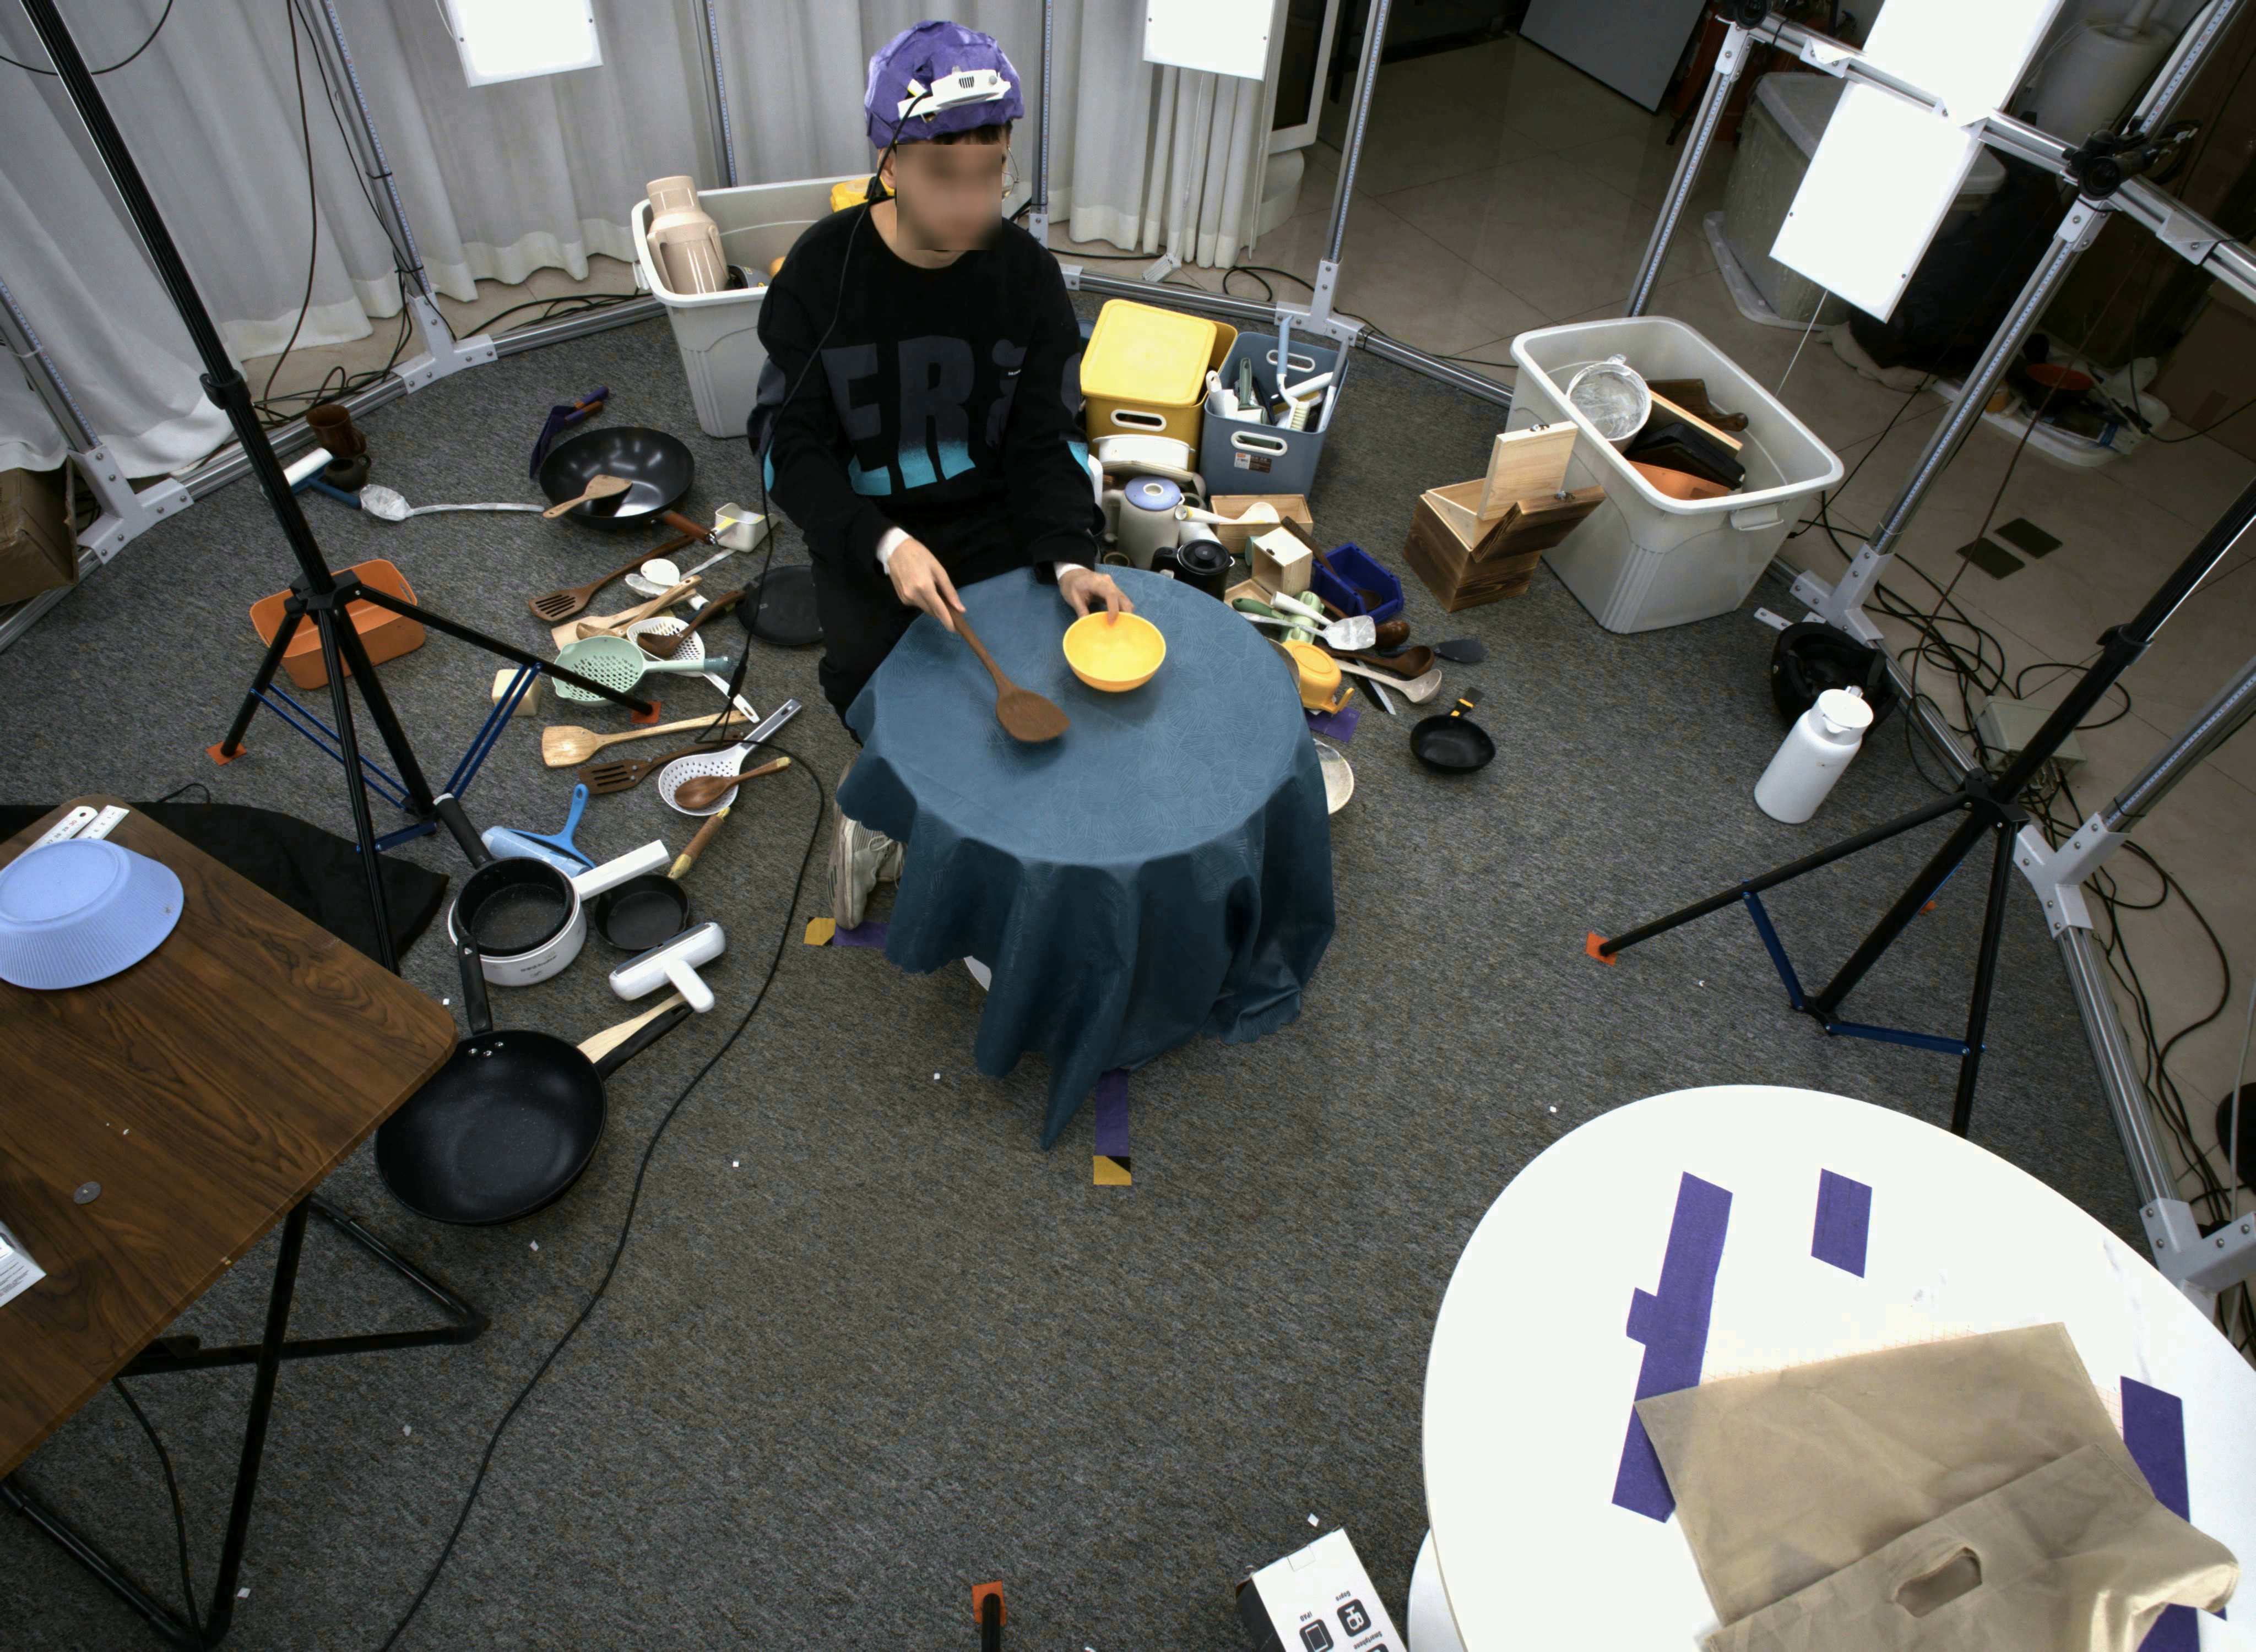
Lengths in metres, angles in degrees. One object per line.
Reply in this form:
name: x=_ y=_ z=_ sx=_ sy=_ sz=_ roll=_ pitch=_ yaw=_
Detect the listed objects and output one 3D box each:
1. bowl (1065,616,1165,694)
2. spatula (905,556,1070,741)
bowl: x=-0.021 y=-0.235 z=1.852 sx=0.145 sy=0.058 sz=0.149 roll=3 pitch=47 yaw=-3
spatula: x=-0.215 y=-0.259 z=1.820 sx=0.096 sy=0.015 sz=0.393 roll=-18 pitch=59 yaw=-35
